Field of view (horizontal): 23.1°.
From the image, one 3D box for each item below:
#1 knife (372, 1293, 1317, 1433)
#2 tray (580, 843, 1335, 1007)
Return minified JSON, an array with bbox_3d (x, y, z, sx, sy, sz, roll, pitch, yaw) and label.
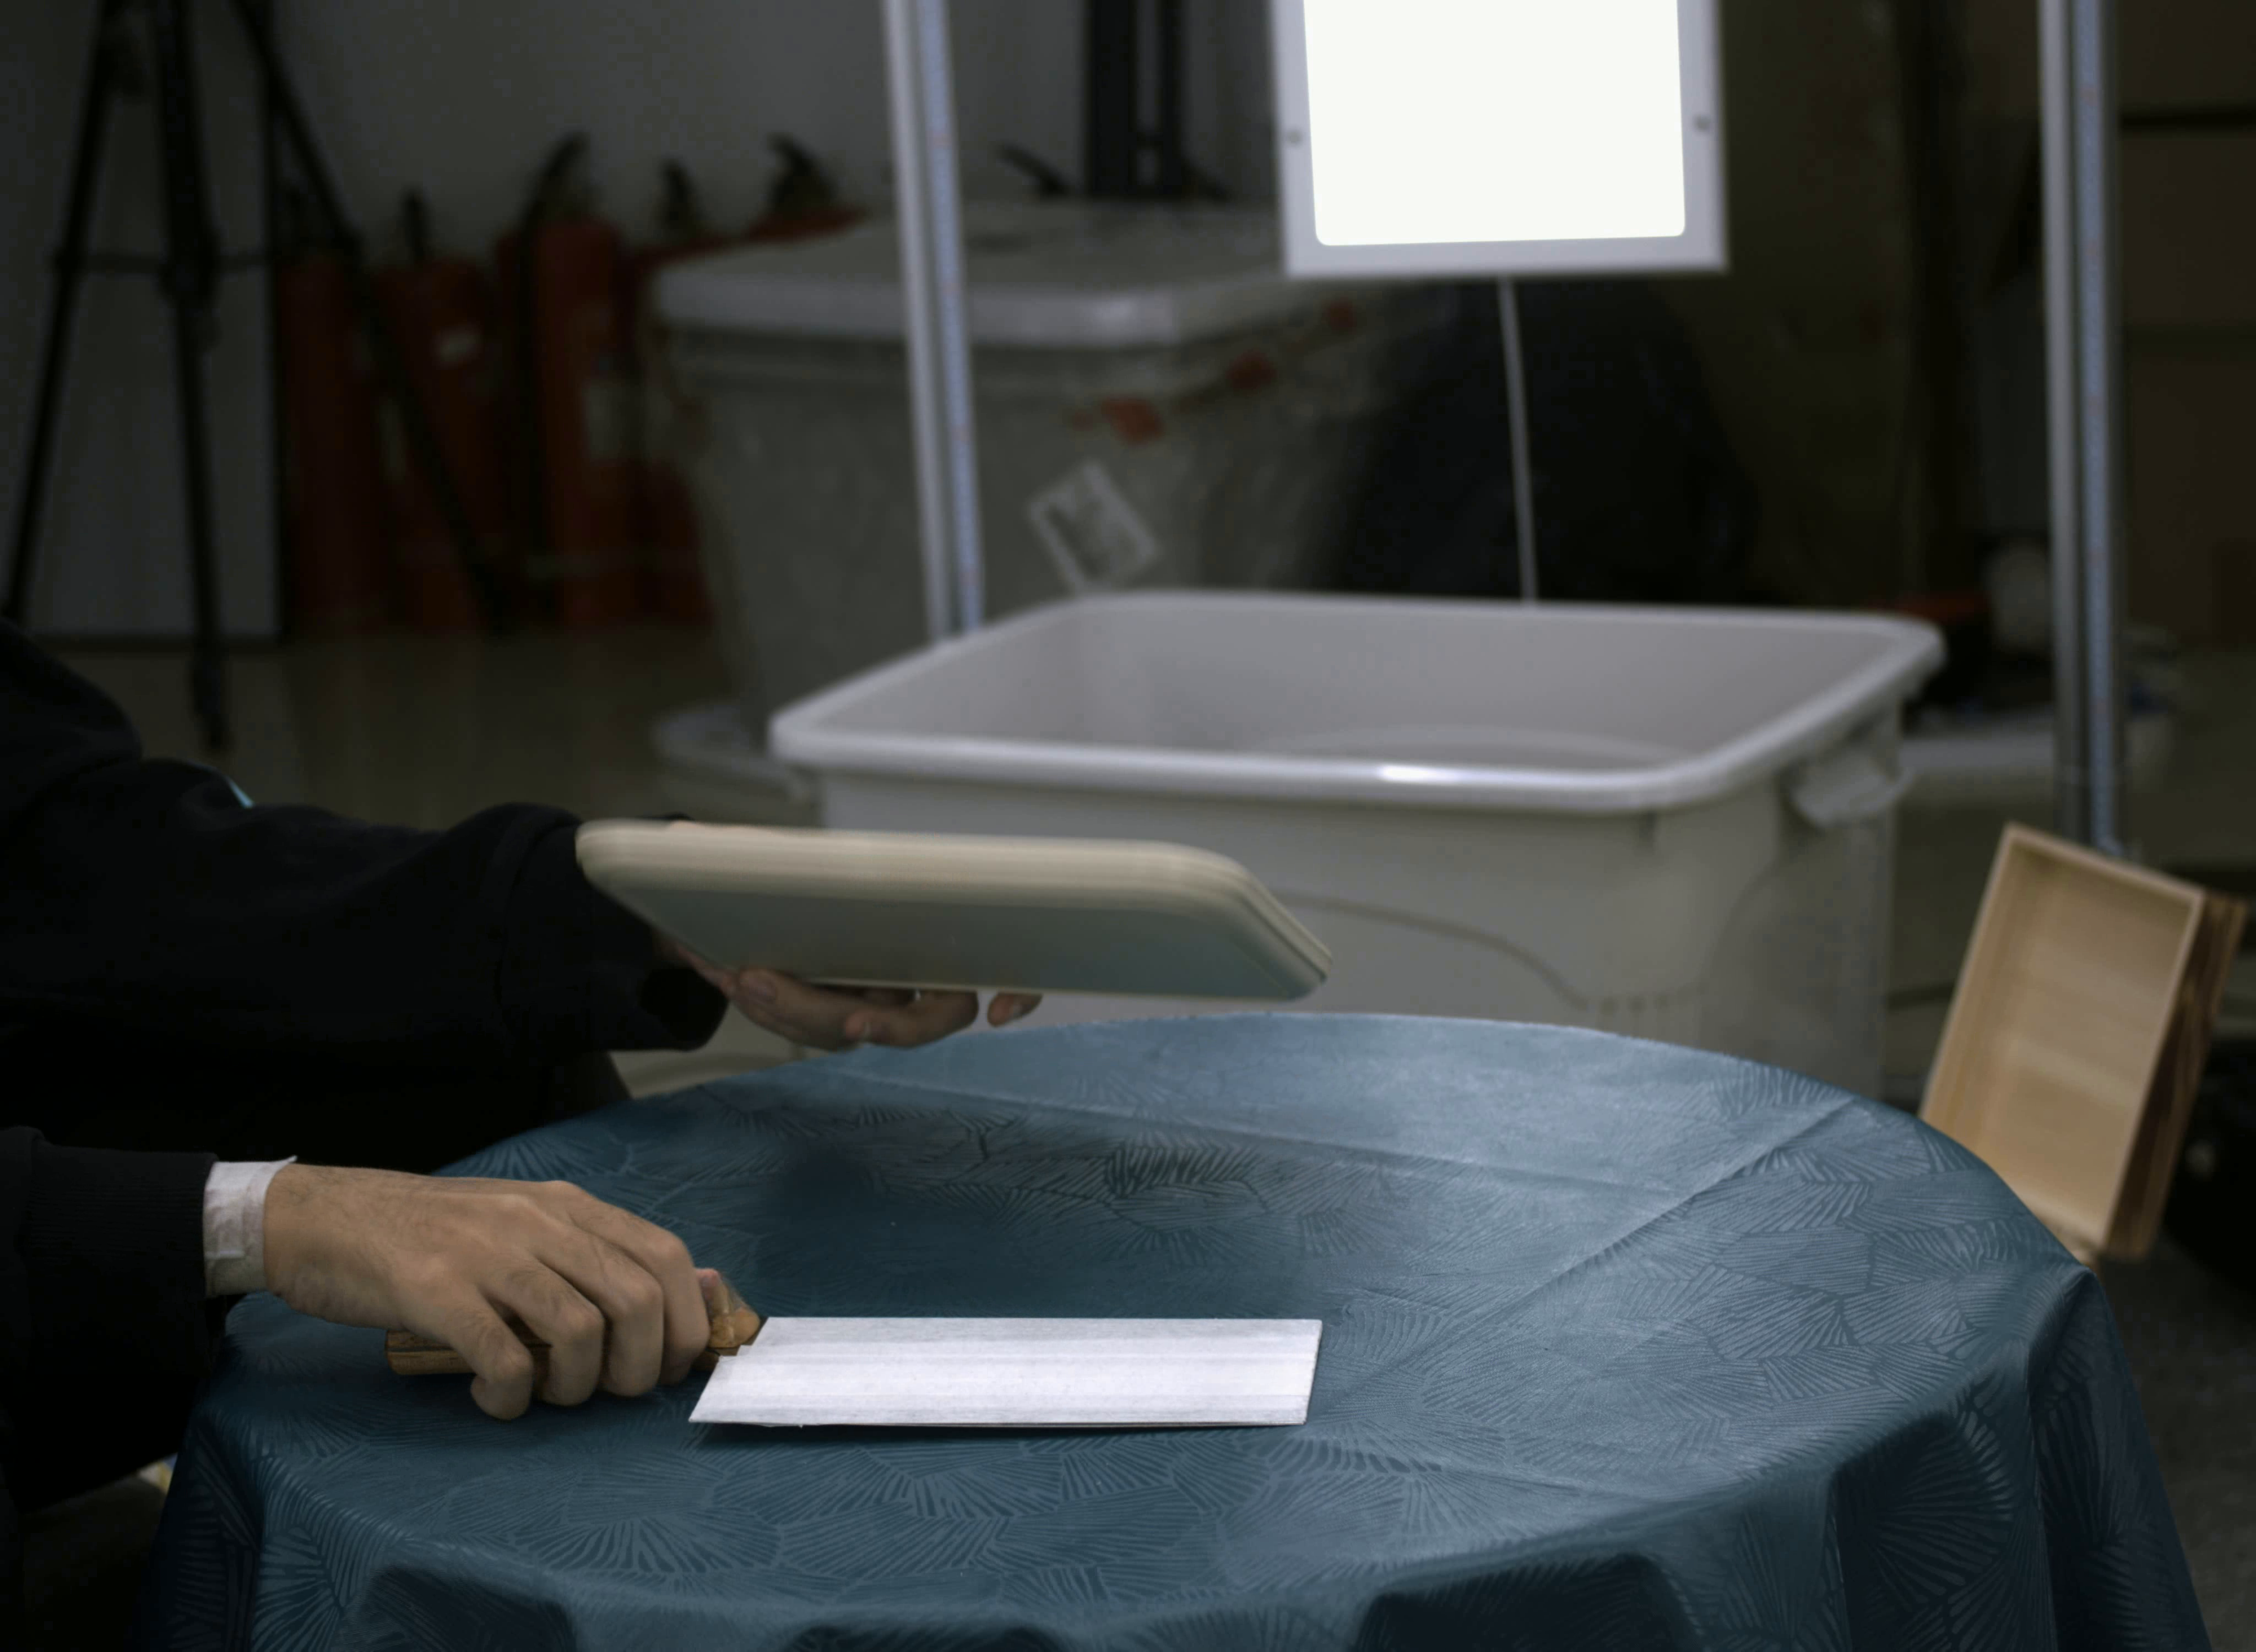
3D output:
[{"bbox_3d":[-0.093,0.169,1.724,0.307,0.021,0.092,-1,16,8],"label":"knife"},{"bbox_3d":[-0.057,0.036,1.887,0.242,0.017,0.169,2,-12,19],"label":"tray"}]
